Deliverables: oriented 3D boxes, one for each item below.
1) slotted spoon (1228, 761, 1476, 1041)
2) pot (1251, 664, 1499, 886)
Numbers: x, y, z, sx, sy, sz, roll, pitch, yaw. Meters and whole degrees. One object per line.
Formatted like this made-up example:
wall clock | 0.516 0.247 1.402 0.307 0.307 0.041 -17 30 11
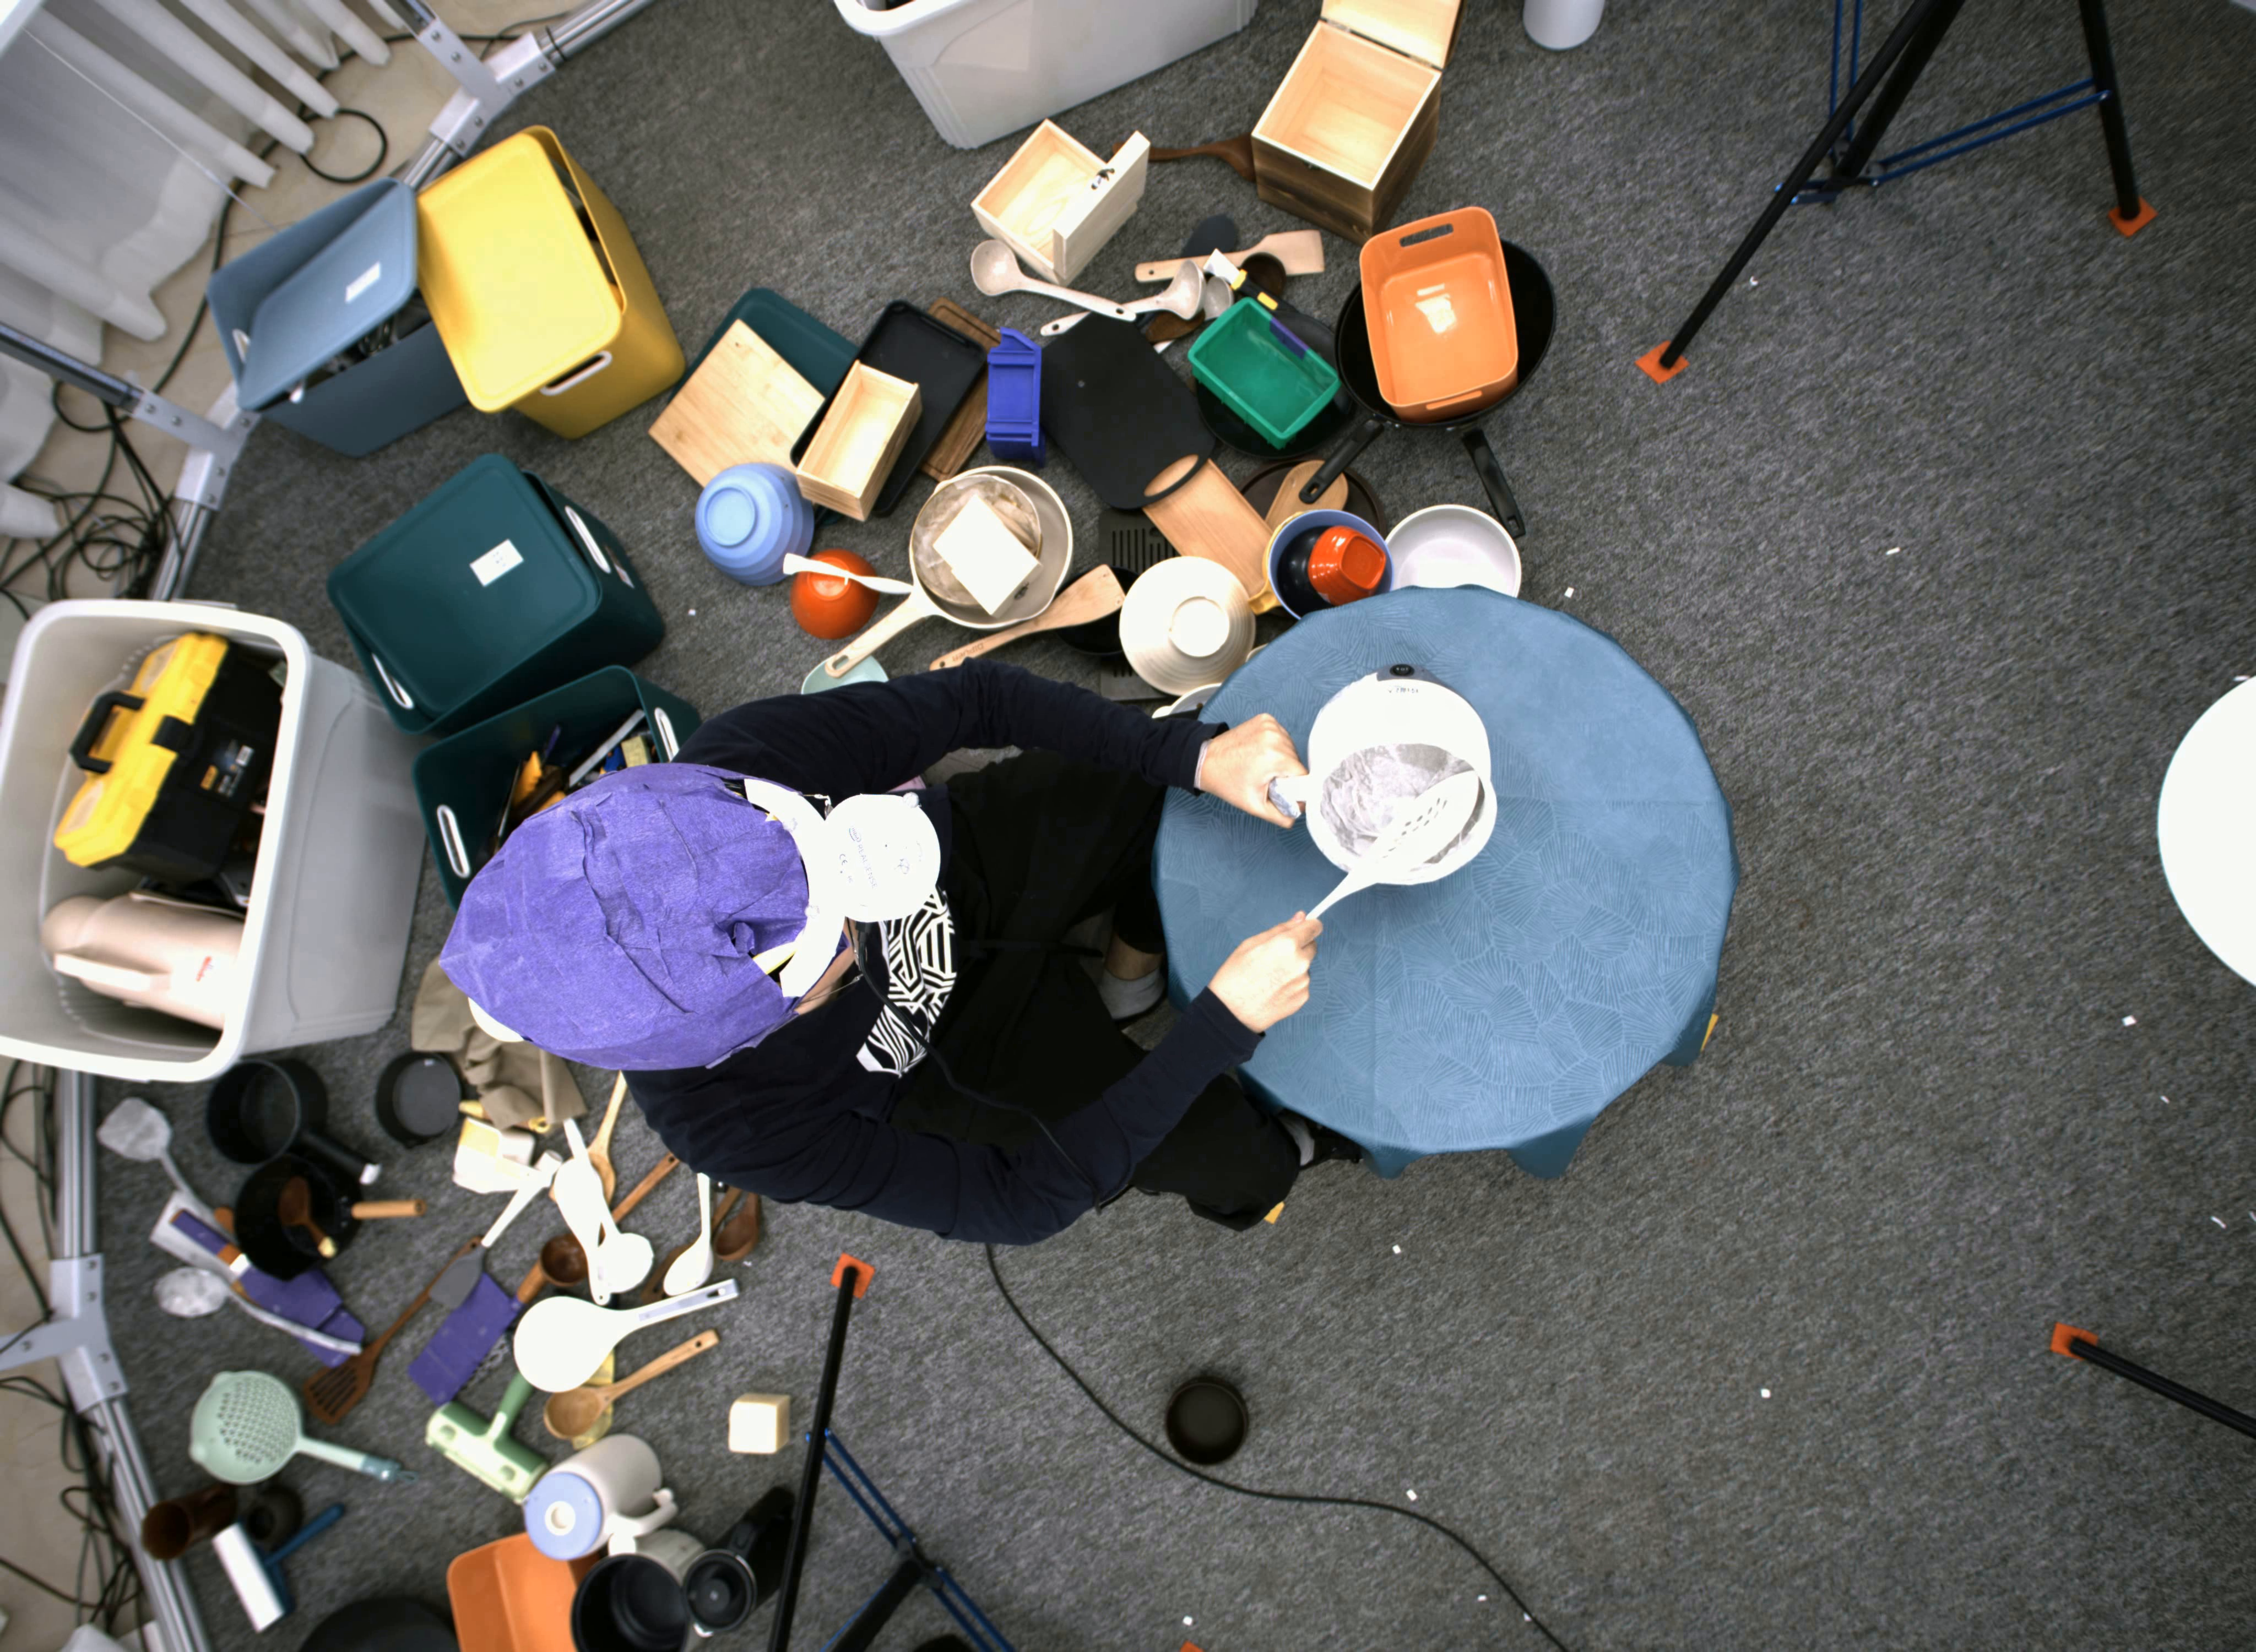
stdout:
slotted spoon | 0.206 0.066 1.297 0.346 0.137 0.050 -41 96 -6
pot | 0.236 -0.052 1.342 0.234 0.133 0.183 -1 127 9
